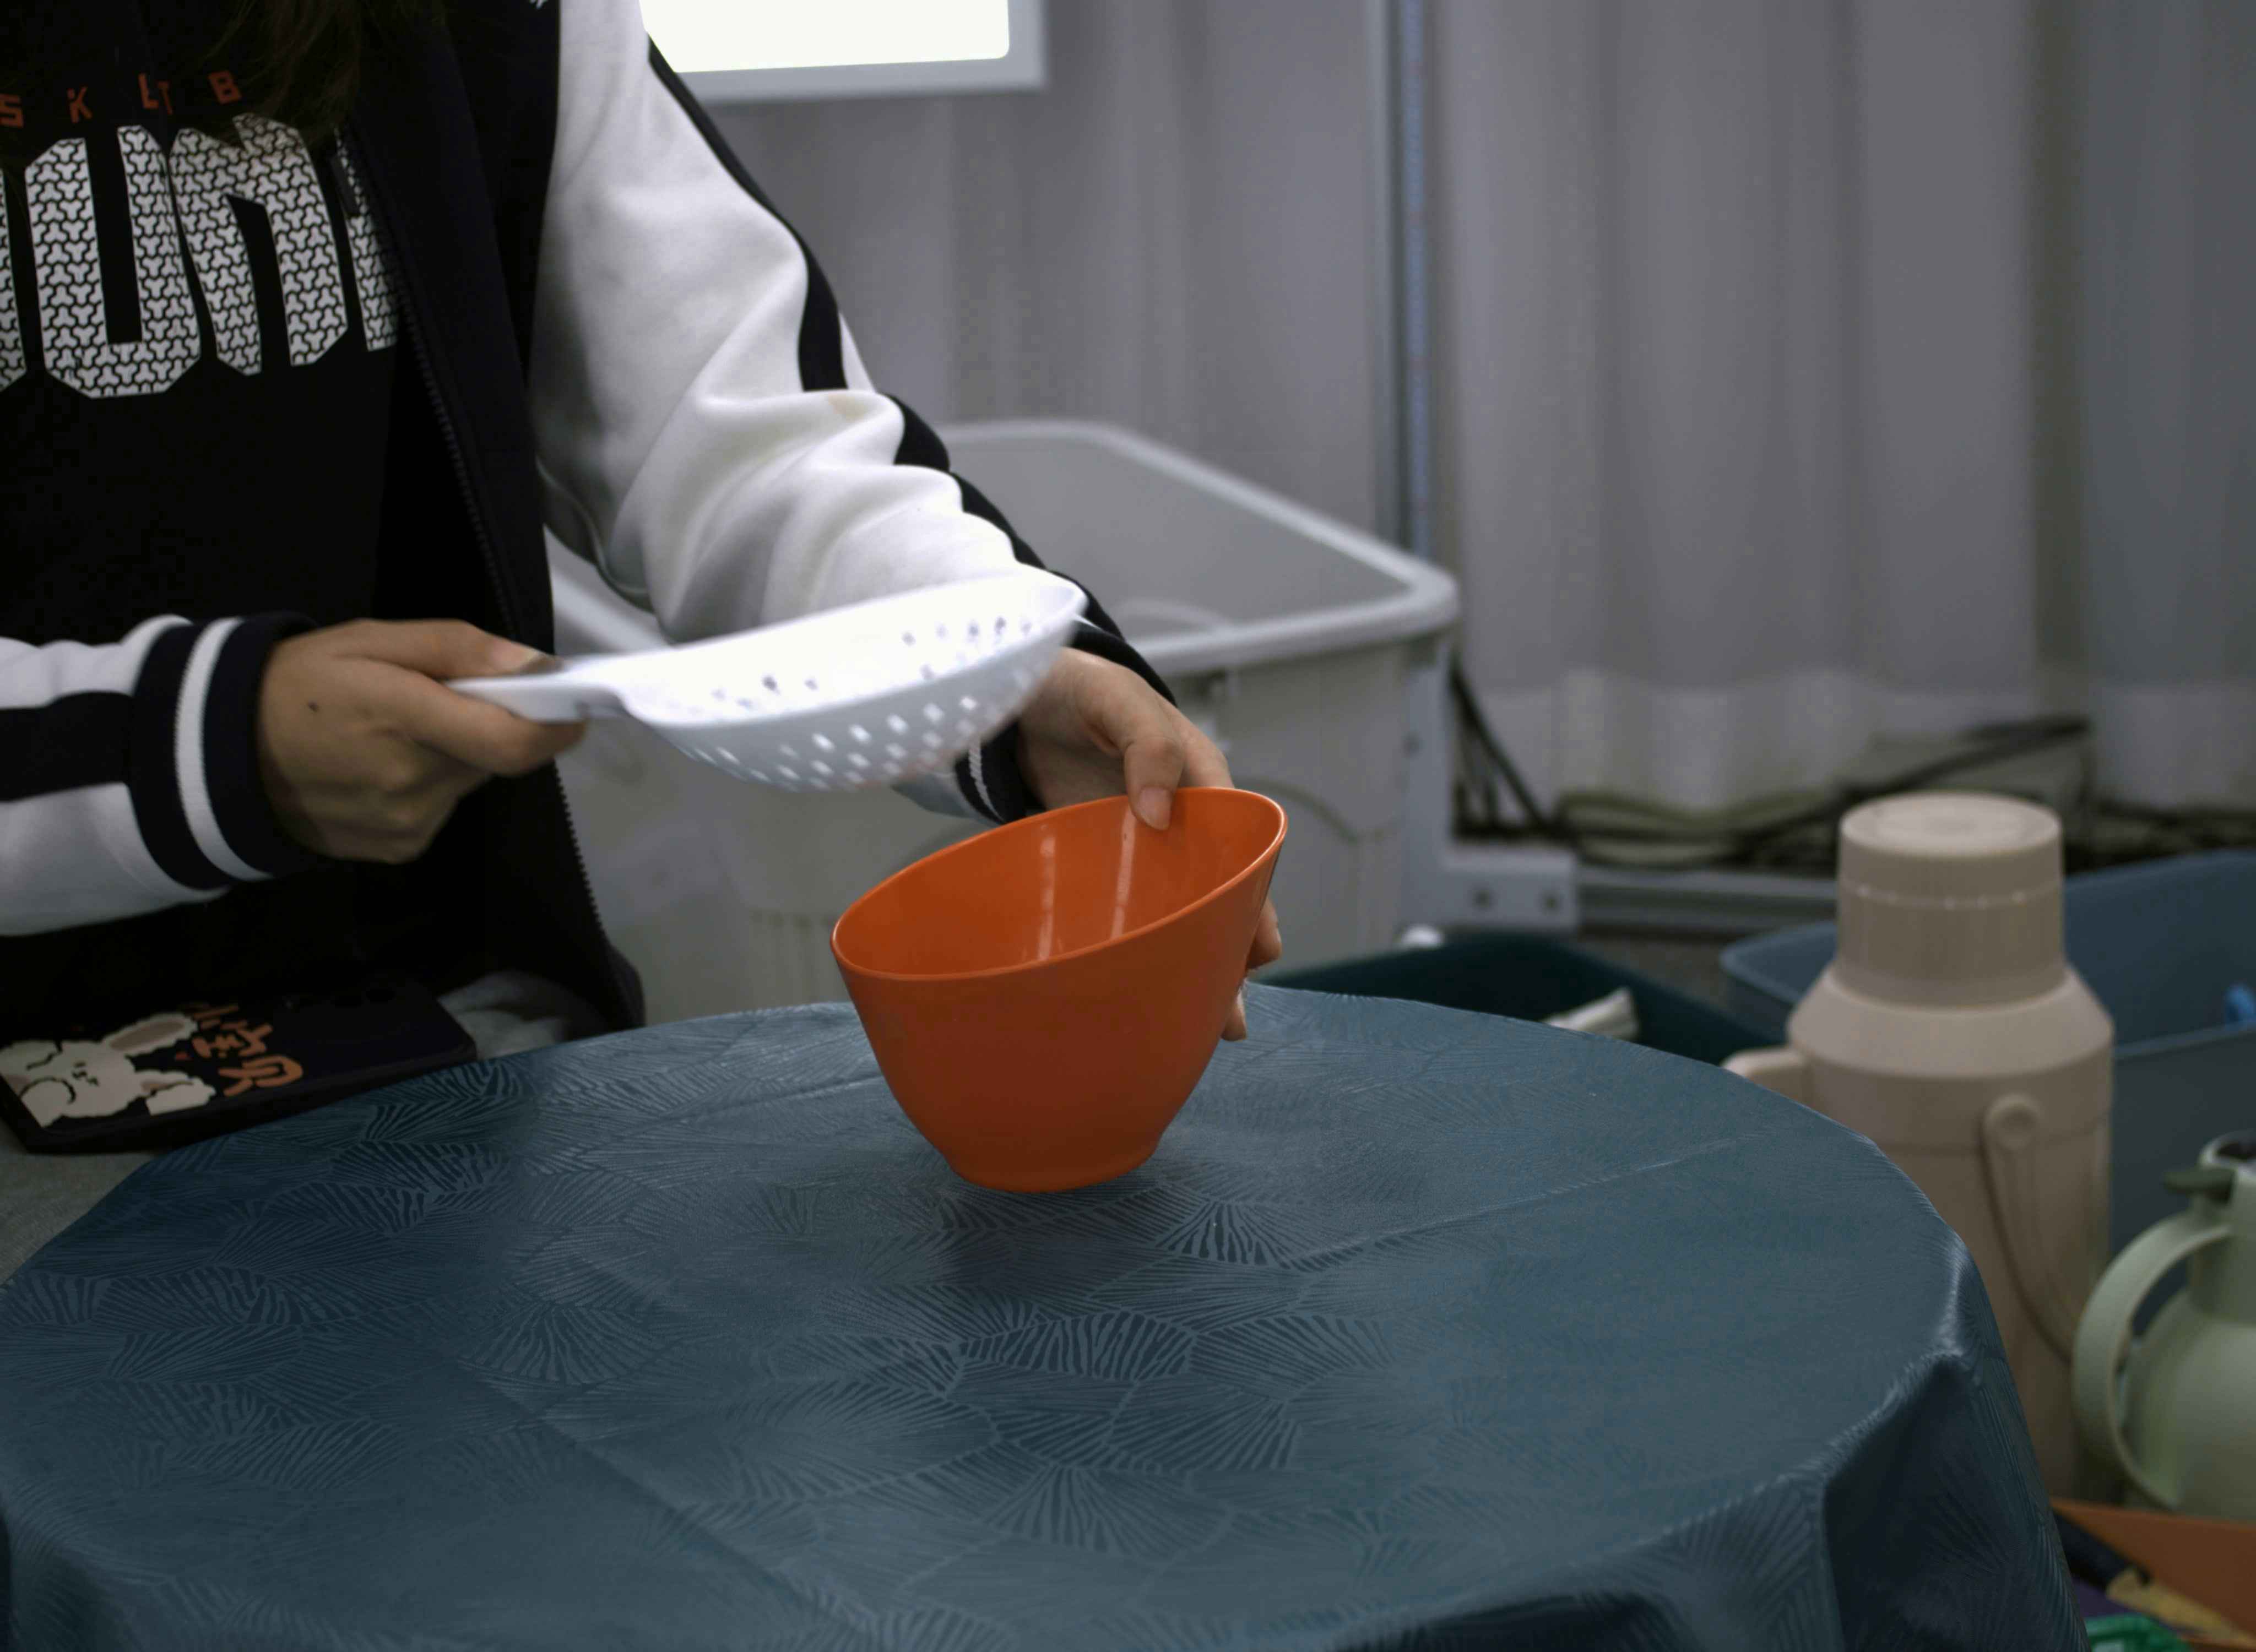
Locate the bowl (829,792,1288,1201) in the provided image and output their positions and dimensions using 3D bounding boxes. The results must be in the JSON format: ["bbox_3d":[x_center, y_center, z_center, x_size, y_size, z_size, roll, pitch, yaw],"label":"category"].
[{"bbox_3d":[-0.018,0.057,1.717,0.147,0.104,0.149,-6,19,2],"label":"bowl"}]

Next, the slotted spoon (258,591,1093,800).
[{"bbox_3d":[-0.153,-0.042,1.688,0.351,0.045,0.136,6,22,42],"label":"slotted spoon"}]
